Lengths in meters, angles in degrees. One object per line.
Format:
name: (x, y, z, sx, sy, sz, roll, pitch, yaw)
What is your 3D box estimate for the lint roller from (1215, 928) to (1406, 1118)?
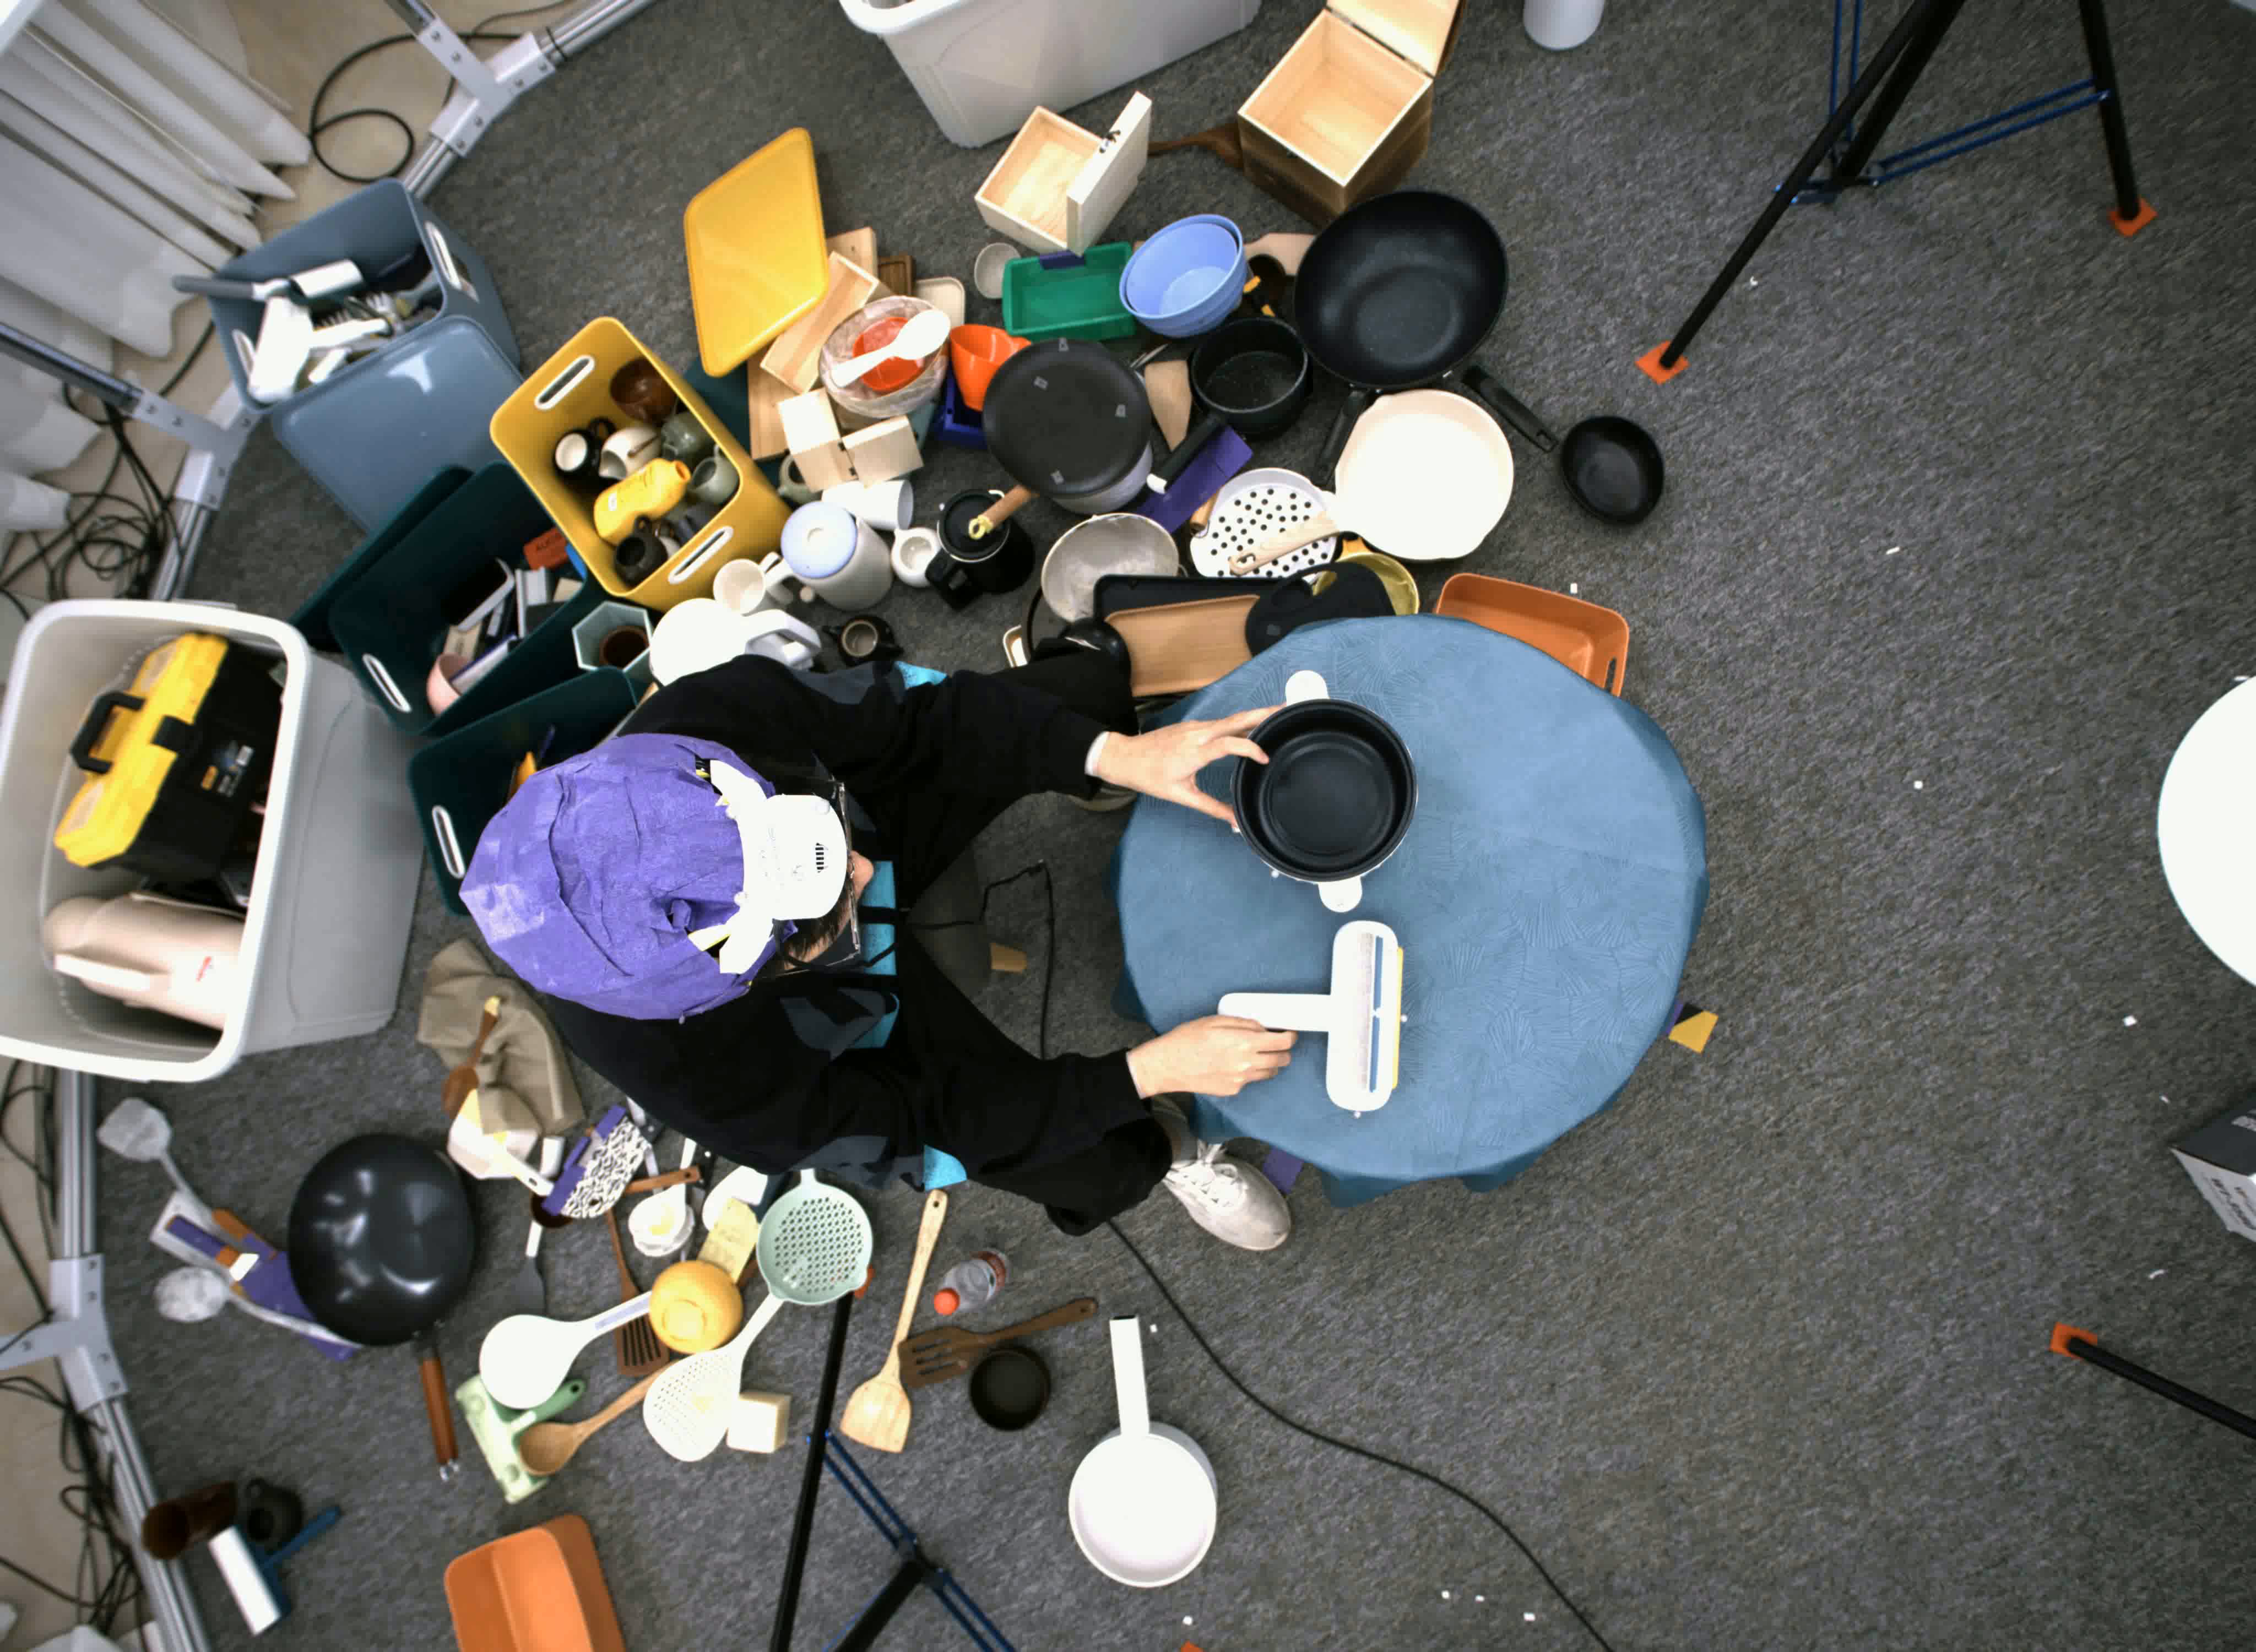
lint roller: (0.183, 0.194, 1.431, 0.193, 0.074, 0.191, 6, 82, 12)

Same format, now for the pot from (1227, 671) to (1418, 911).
pot: (0.195, -0.028, 1.403, 0.191, 0.143, 0.239, -10, 83, 7)
